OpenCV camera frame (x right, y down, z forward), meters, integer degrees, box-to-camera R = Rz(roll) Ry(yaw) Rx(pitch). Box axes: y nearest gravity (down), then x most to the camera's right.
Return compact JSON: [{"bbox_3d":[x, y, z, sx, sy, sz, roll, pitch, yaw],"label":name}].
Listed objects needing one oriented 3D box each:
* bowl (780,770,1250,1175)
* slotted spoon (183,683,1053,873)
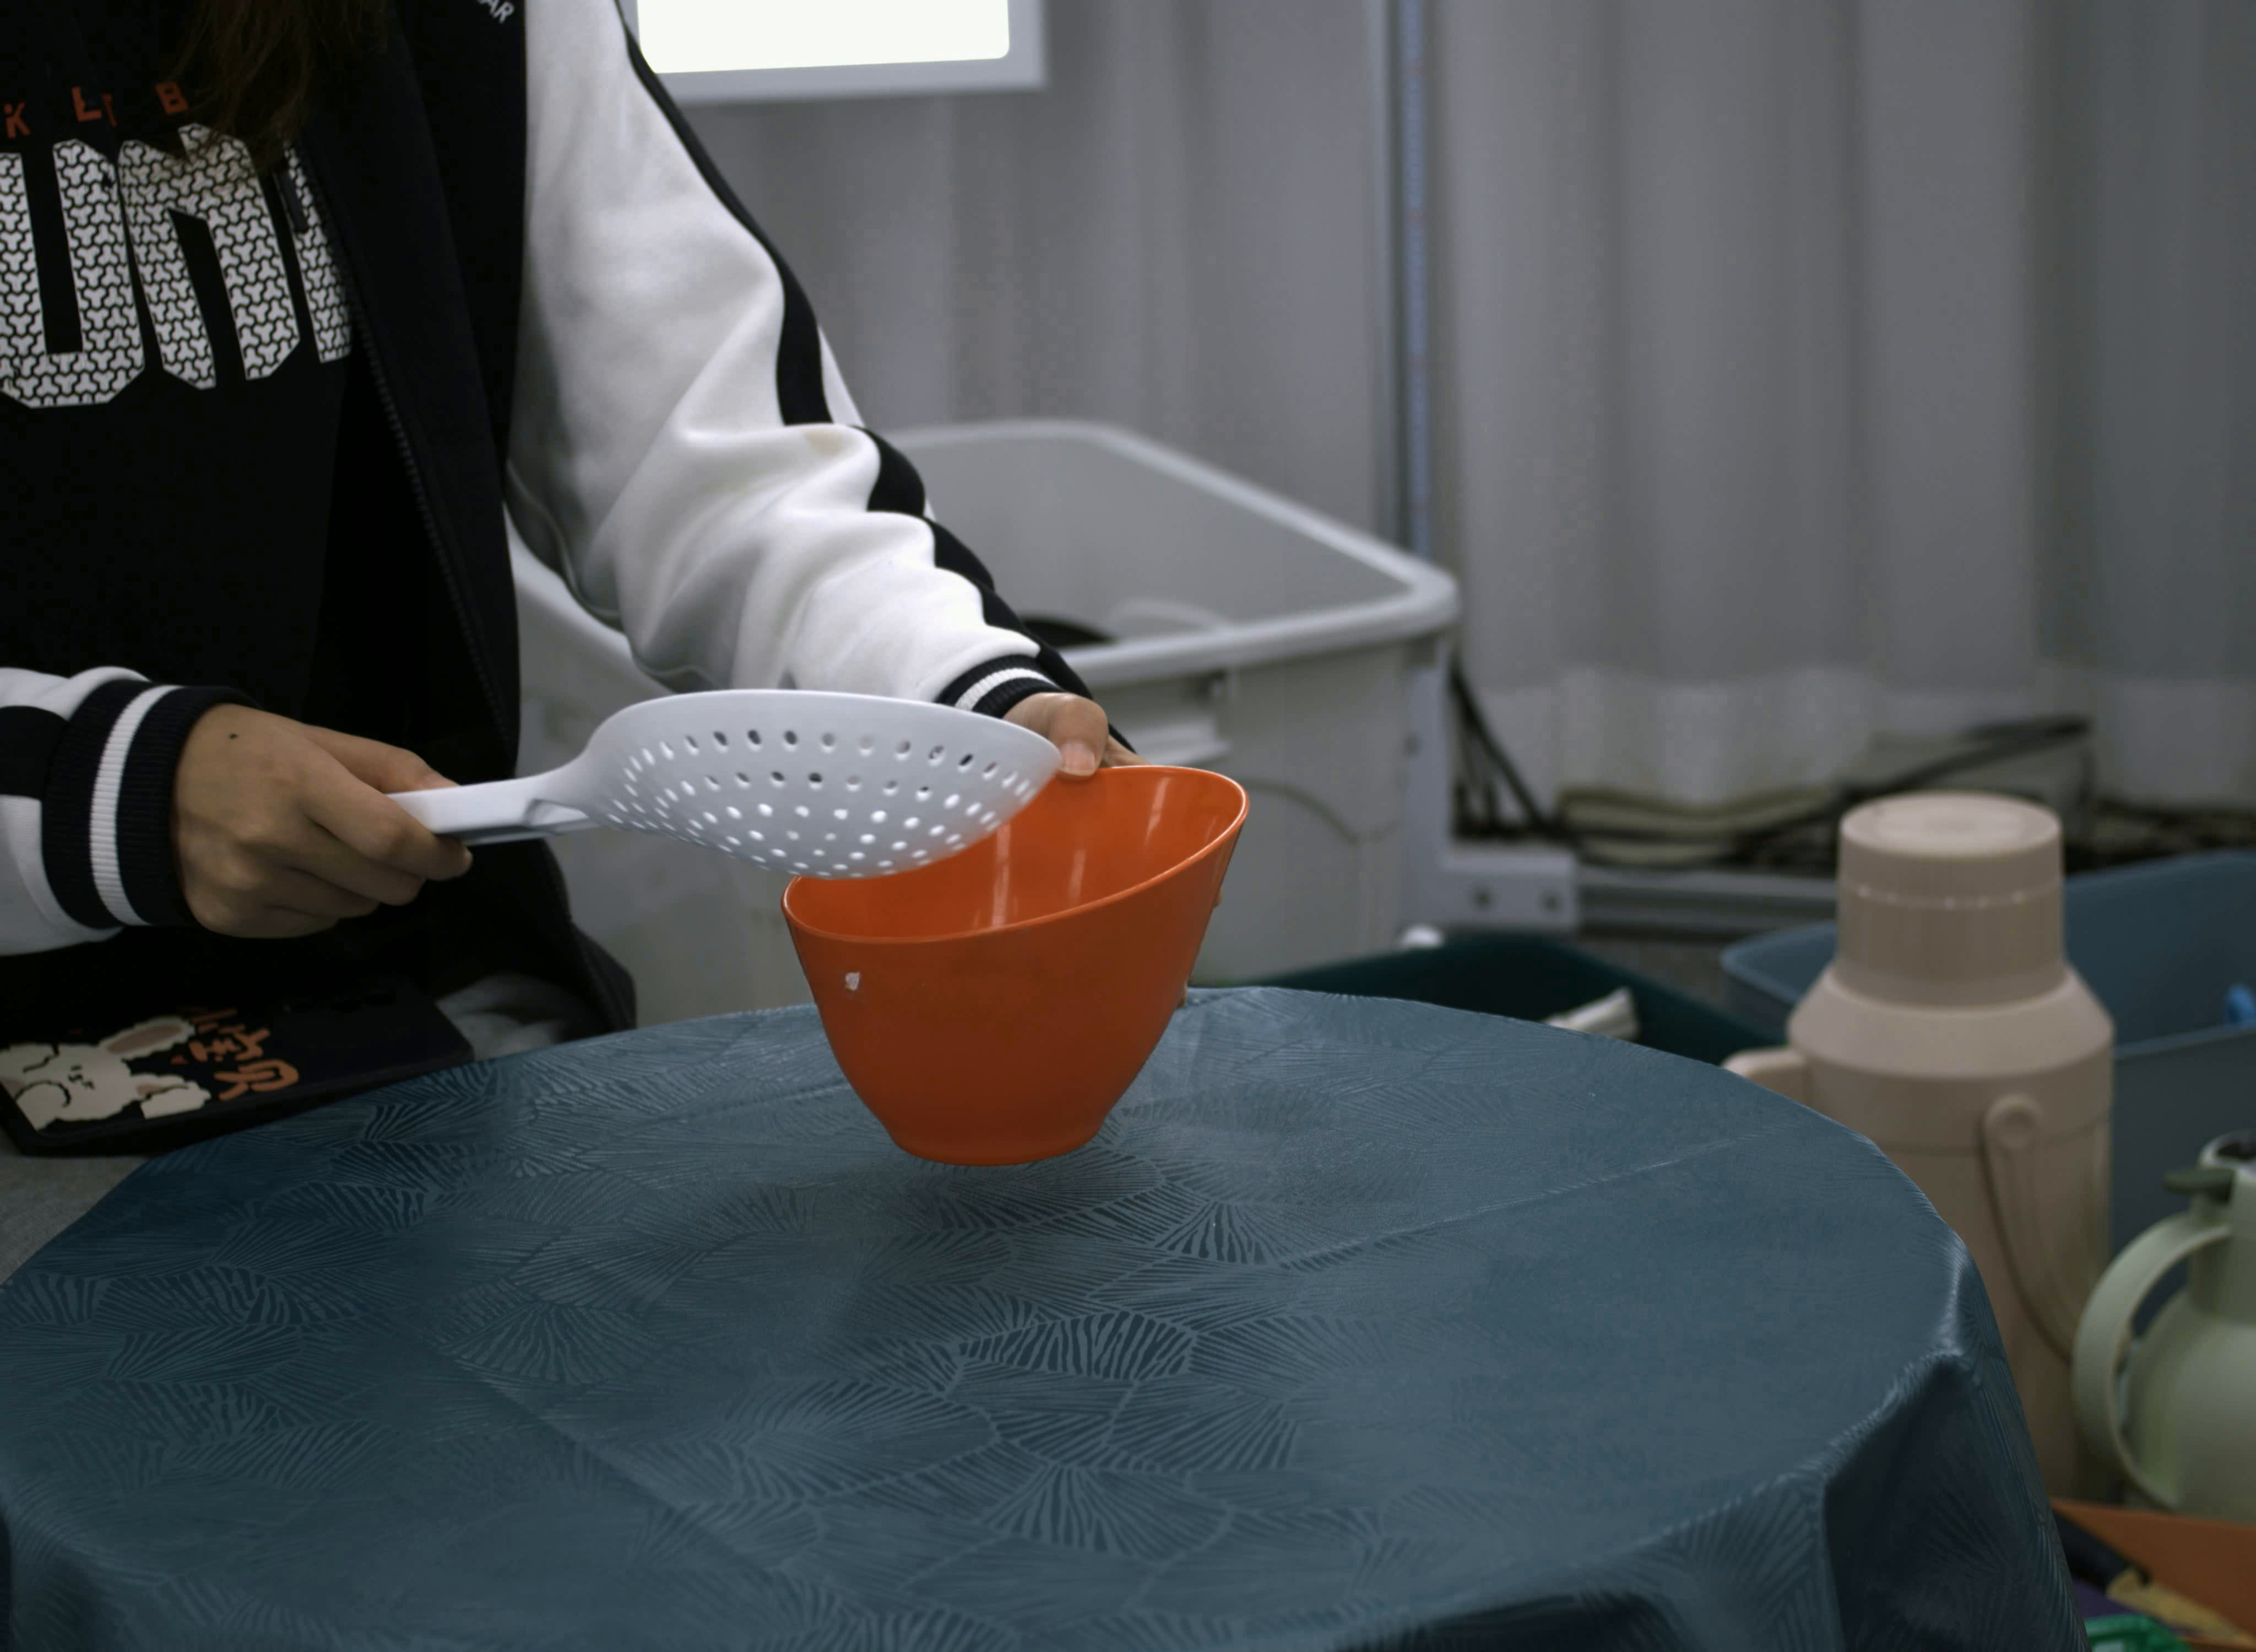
[{"bbox_3d":[-0.033,0.048,1.701,0.147,0.104,0.149,-3,18,1],"label":"bowl"},{"bbox_3d":[-0.172,-0.010,1.698,0.350,0.046,0.135,0,-12,41],"label":"slotted spoon"}]
